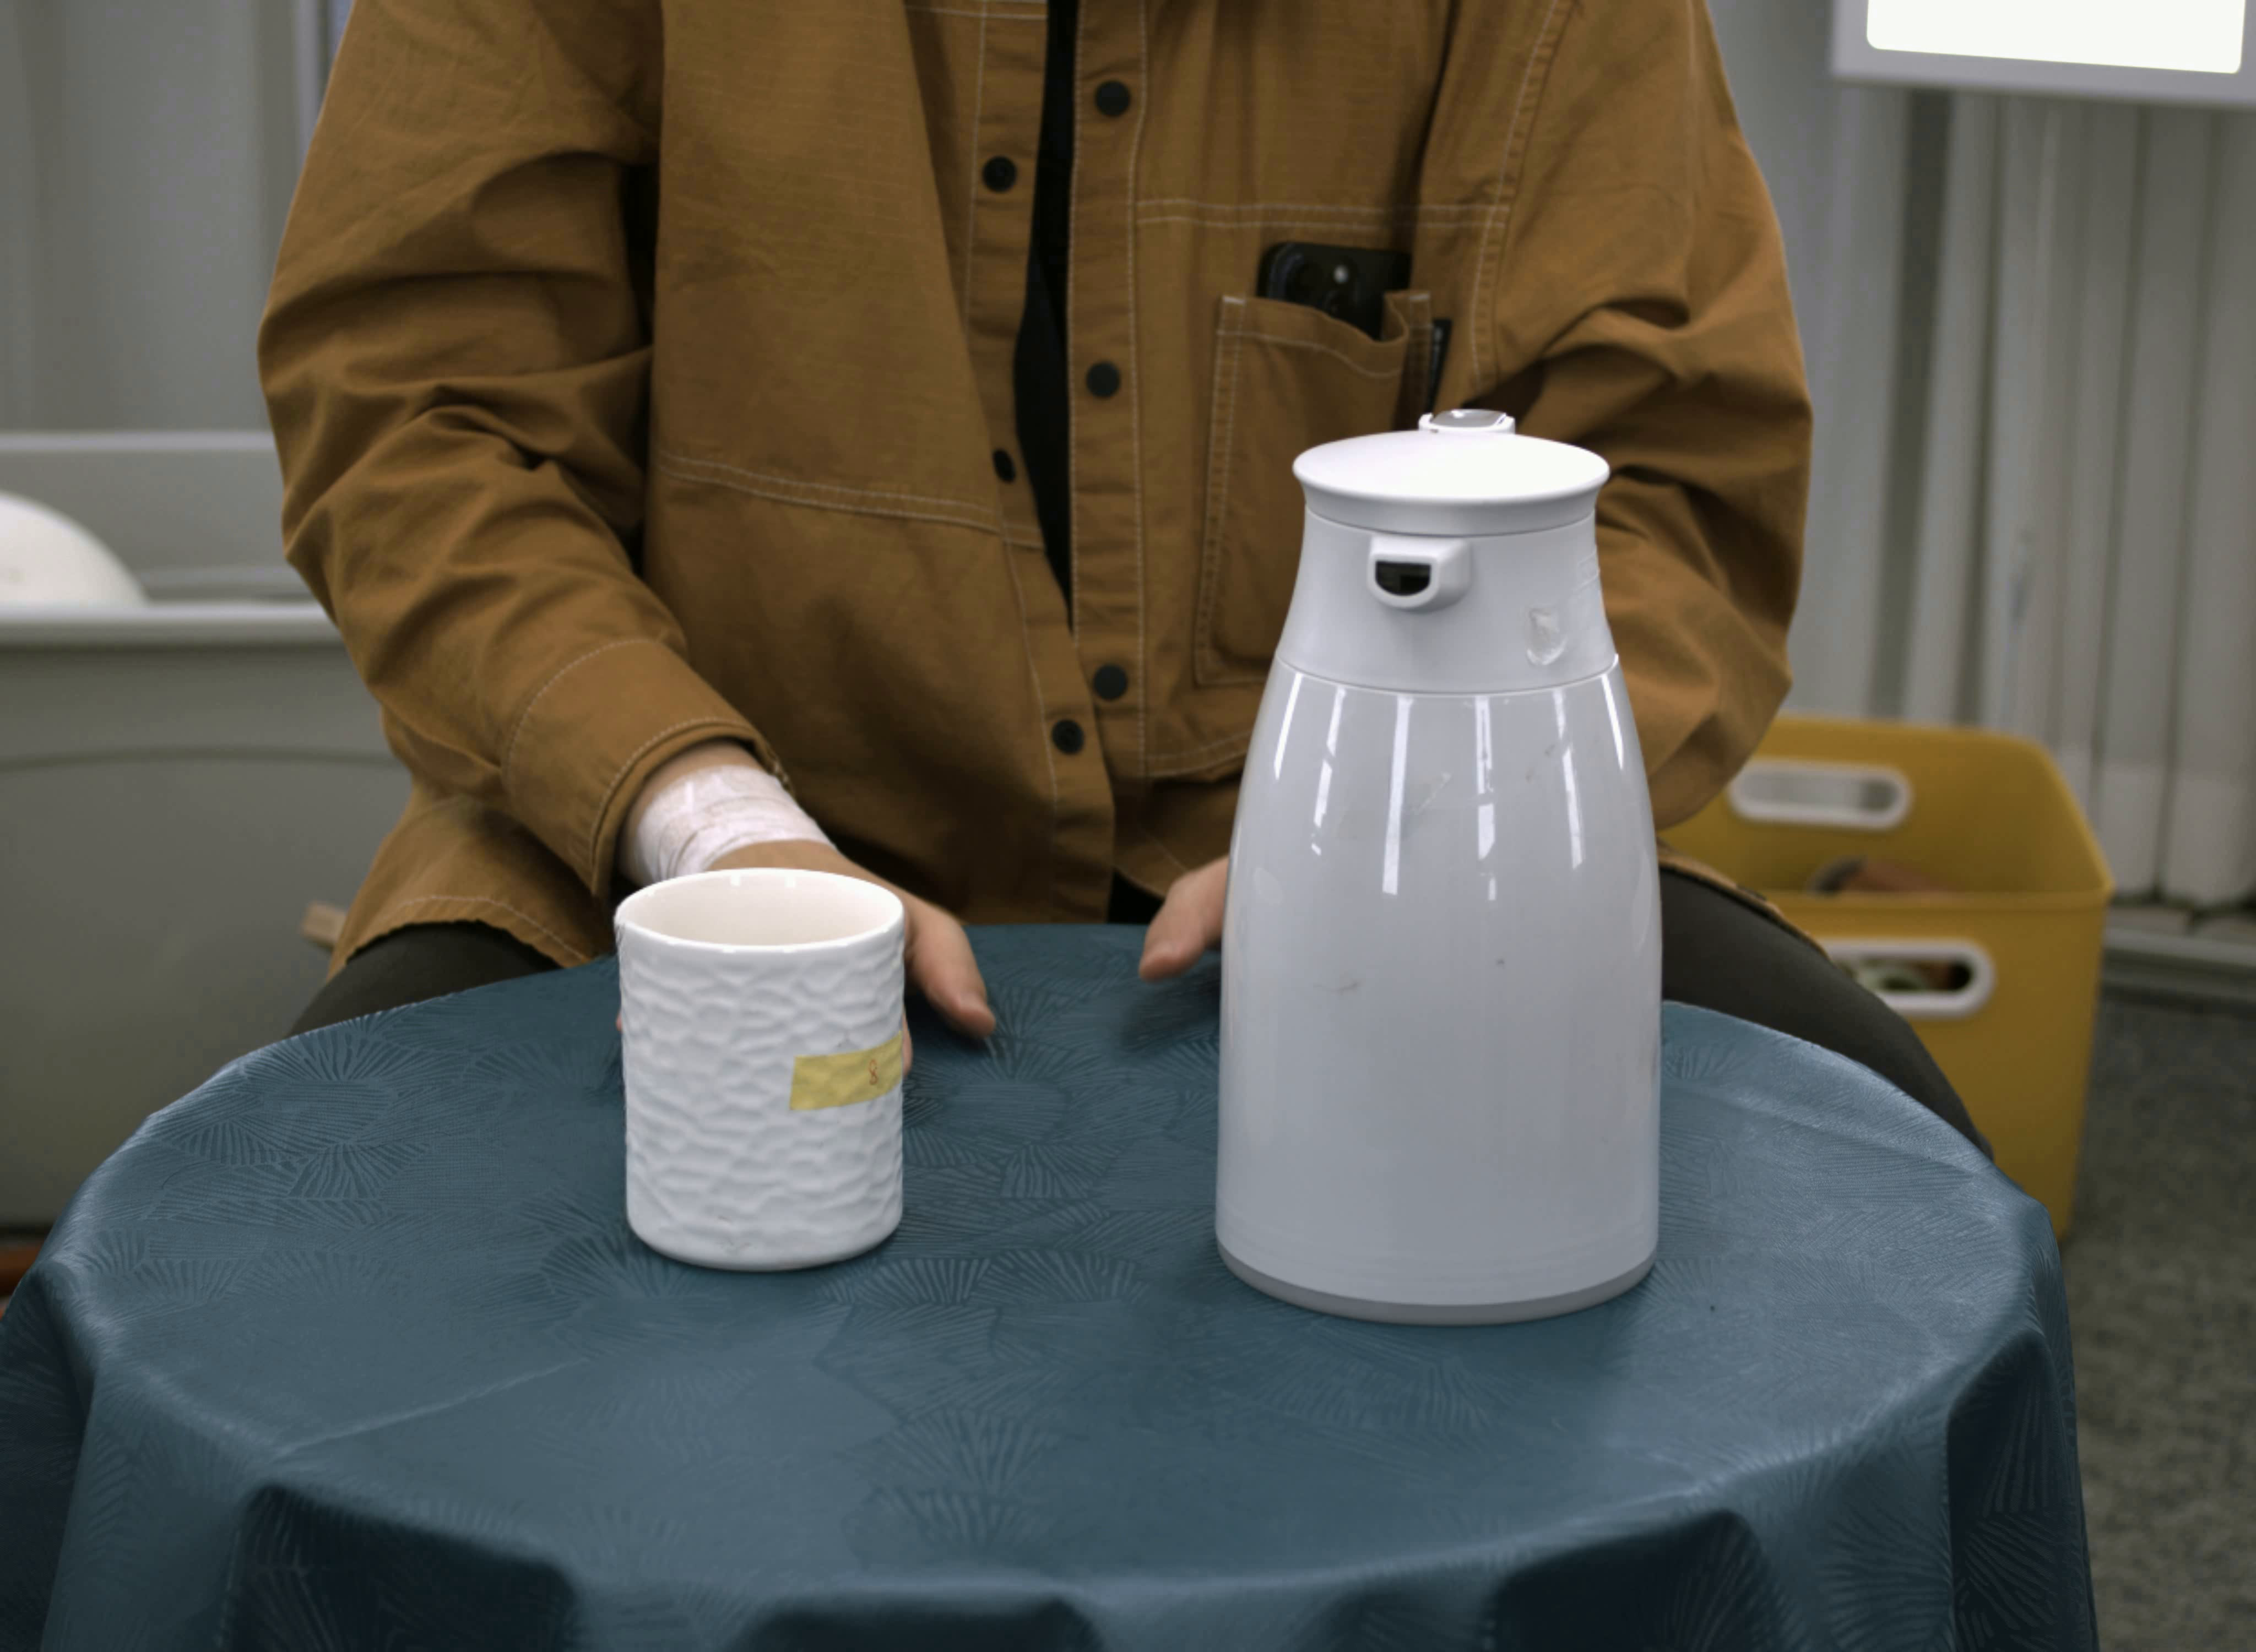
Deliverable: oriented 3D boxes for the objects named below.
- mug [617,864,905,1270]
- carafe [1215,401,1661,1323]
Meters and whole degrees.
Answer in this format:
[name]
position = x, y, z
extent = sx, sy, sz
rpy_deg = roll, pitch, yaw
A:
[mug]
position = -0.116, 0.068, 1.585
extent = 0.085, 0.103, 0.117
rpy_deg = -8, 18, -27
[carafe]
position = 0.095, 0.002, 1.558
extent = 0.131, 0.250, 0.167
rpy_deg = 3, 16, 13
